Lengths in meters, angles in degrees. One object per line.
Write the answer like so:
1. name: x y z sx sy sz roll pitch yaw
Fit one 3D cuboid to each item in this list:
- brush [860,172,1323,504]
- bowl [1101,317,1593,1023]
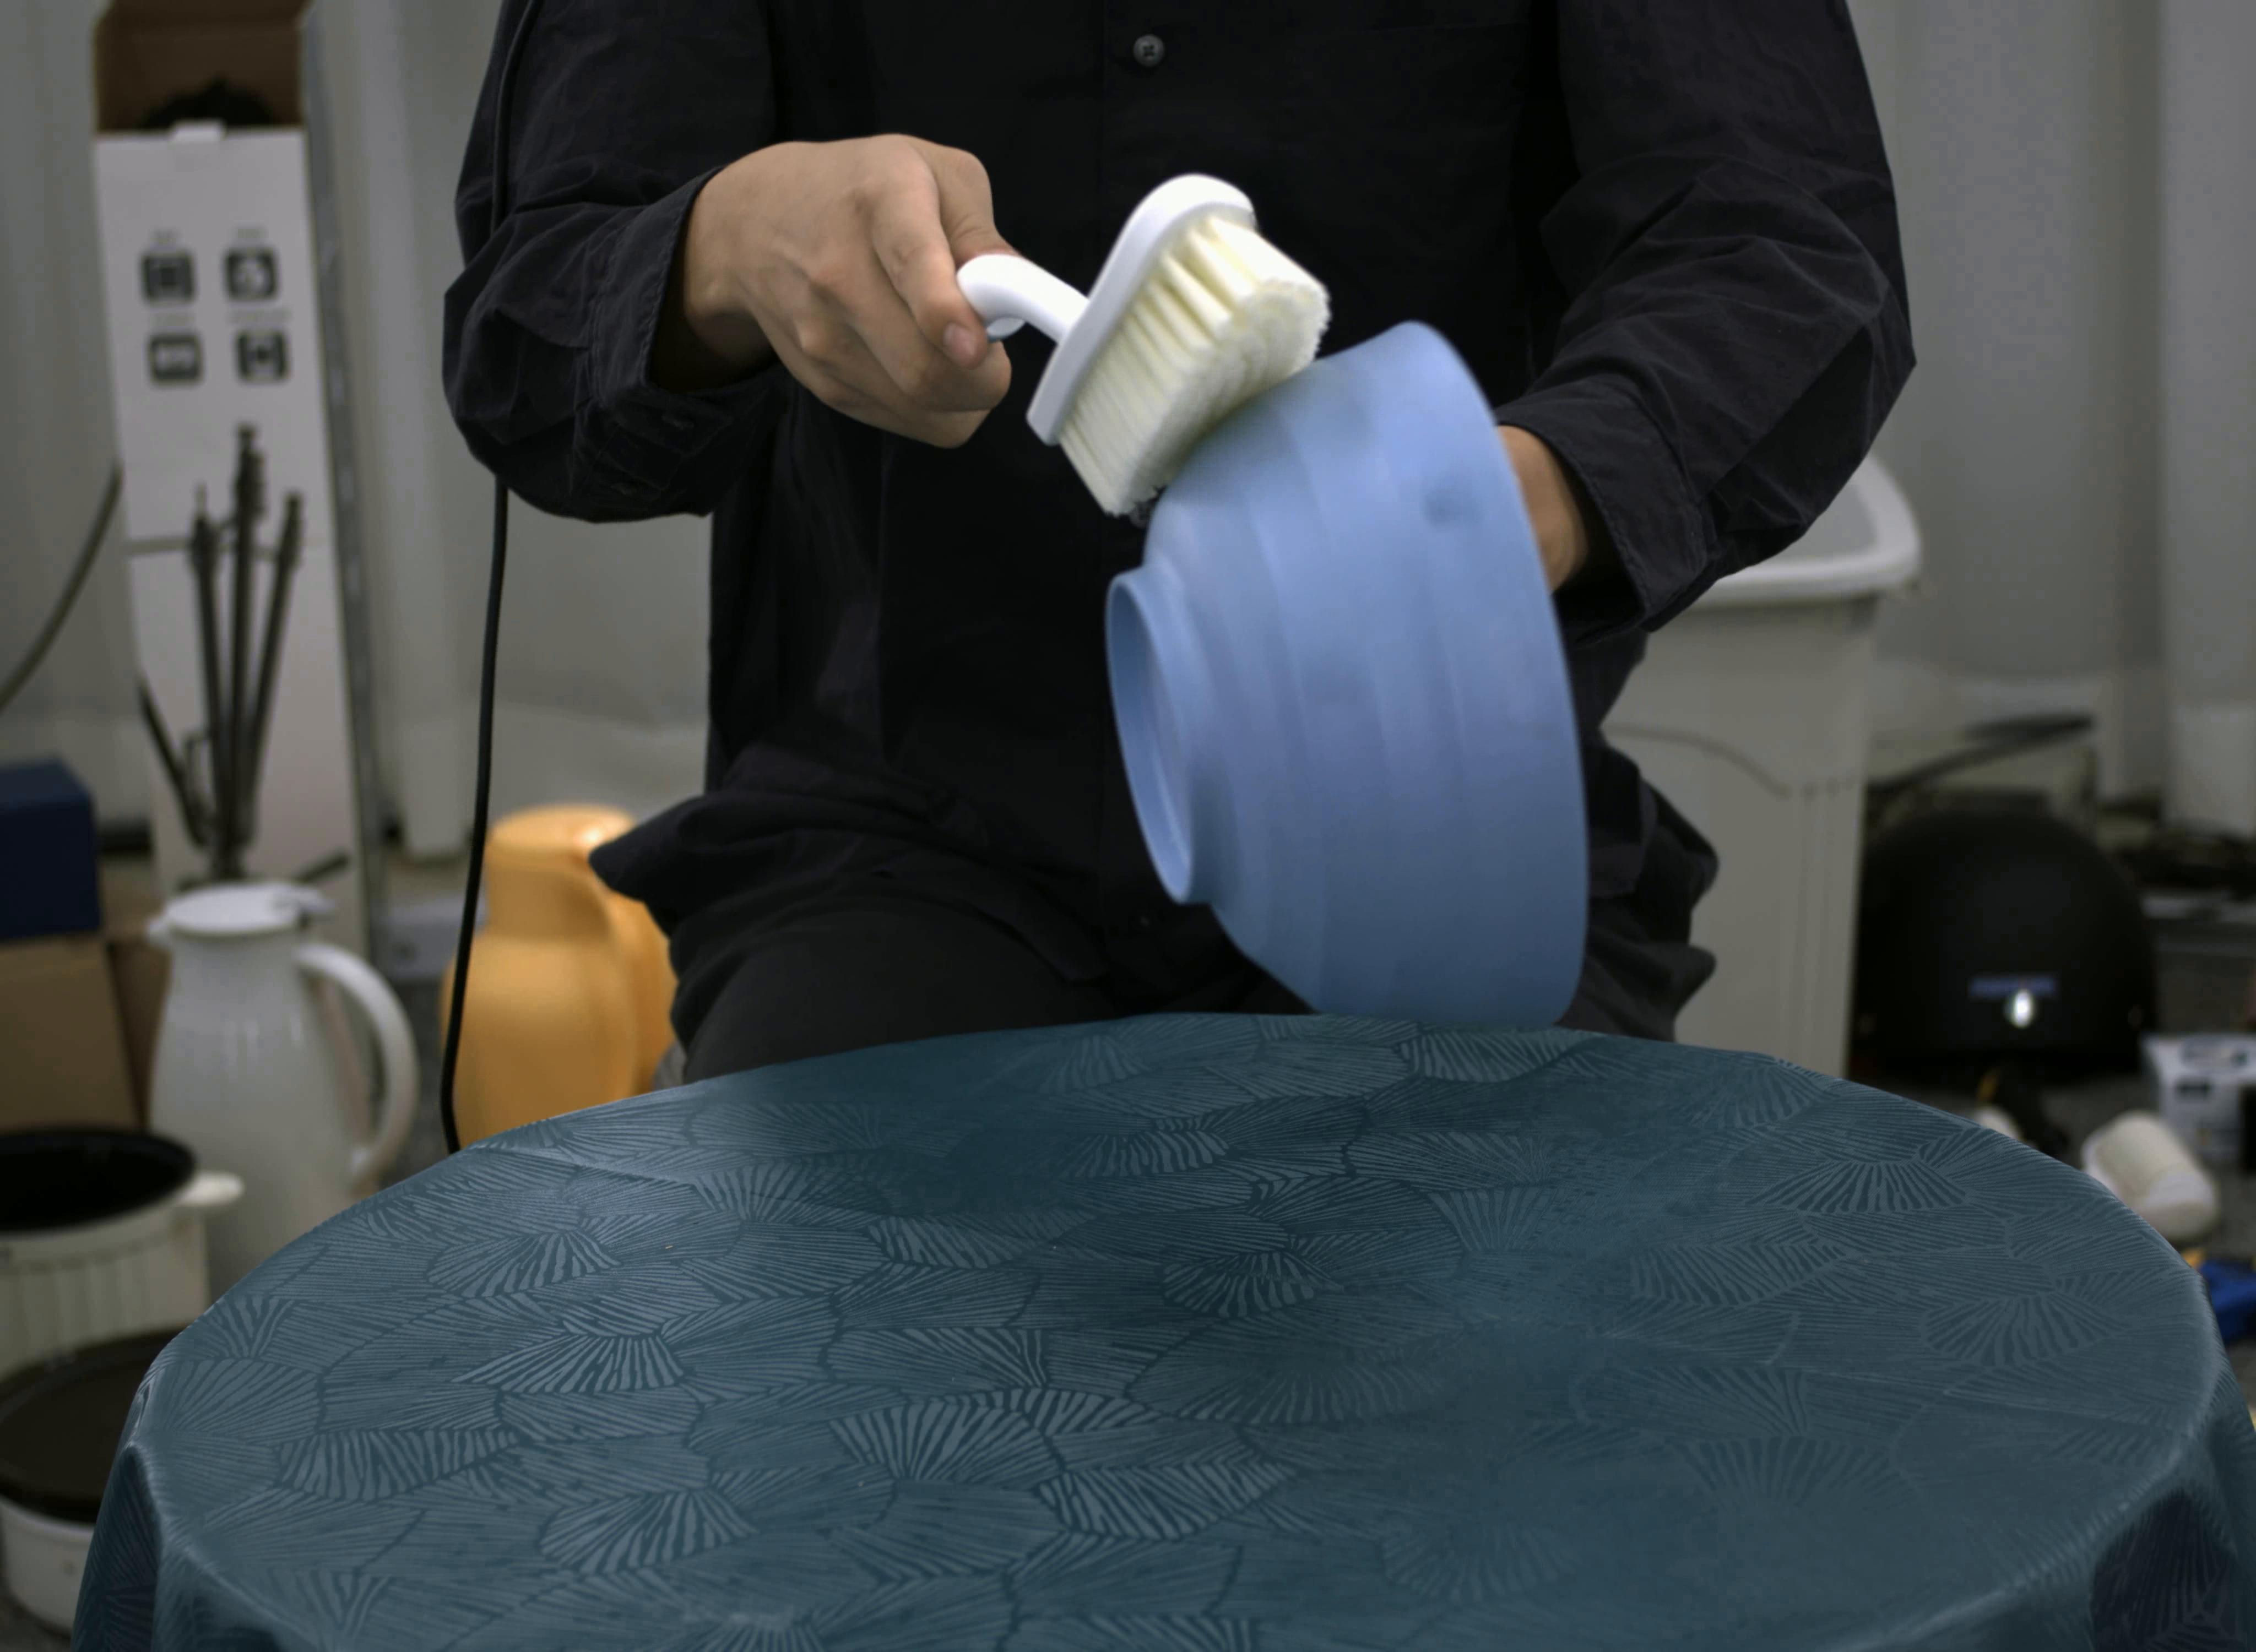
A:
1. brush: -0.007 -0.128 1.587 0.082 0.085 0.325 0 -4 -15
2. bowl: 0.050 -0.034 1.492 0.095 0.195 0.198 -11 16 -11
